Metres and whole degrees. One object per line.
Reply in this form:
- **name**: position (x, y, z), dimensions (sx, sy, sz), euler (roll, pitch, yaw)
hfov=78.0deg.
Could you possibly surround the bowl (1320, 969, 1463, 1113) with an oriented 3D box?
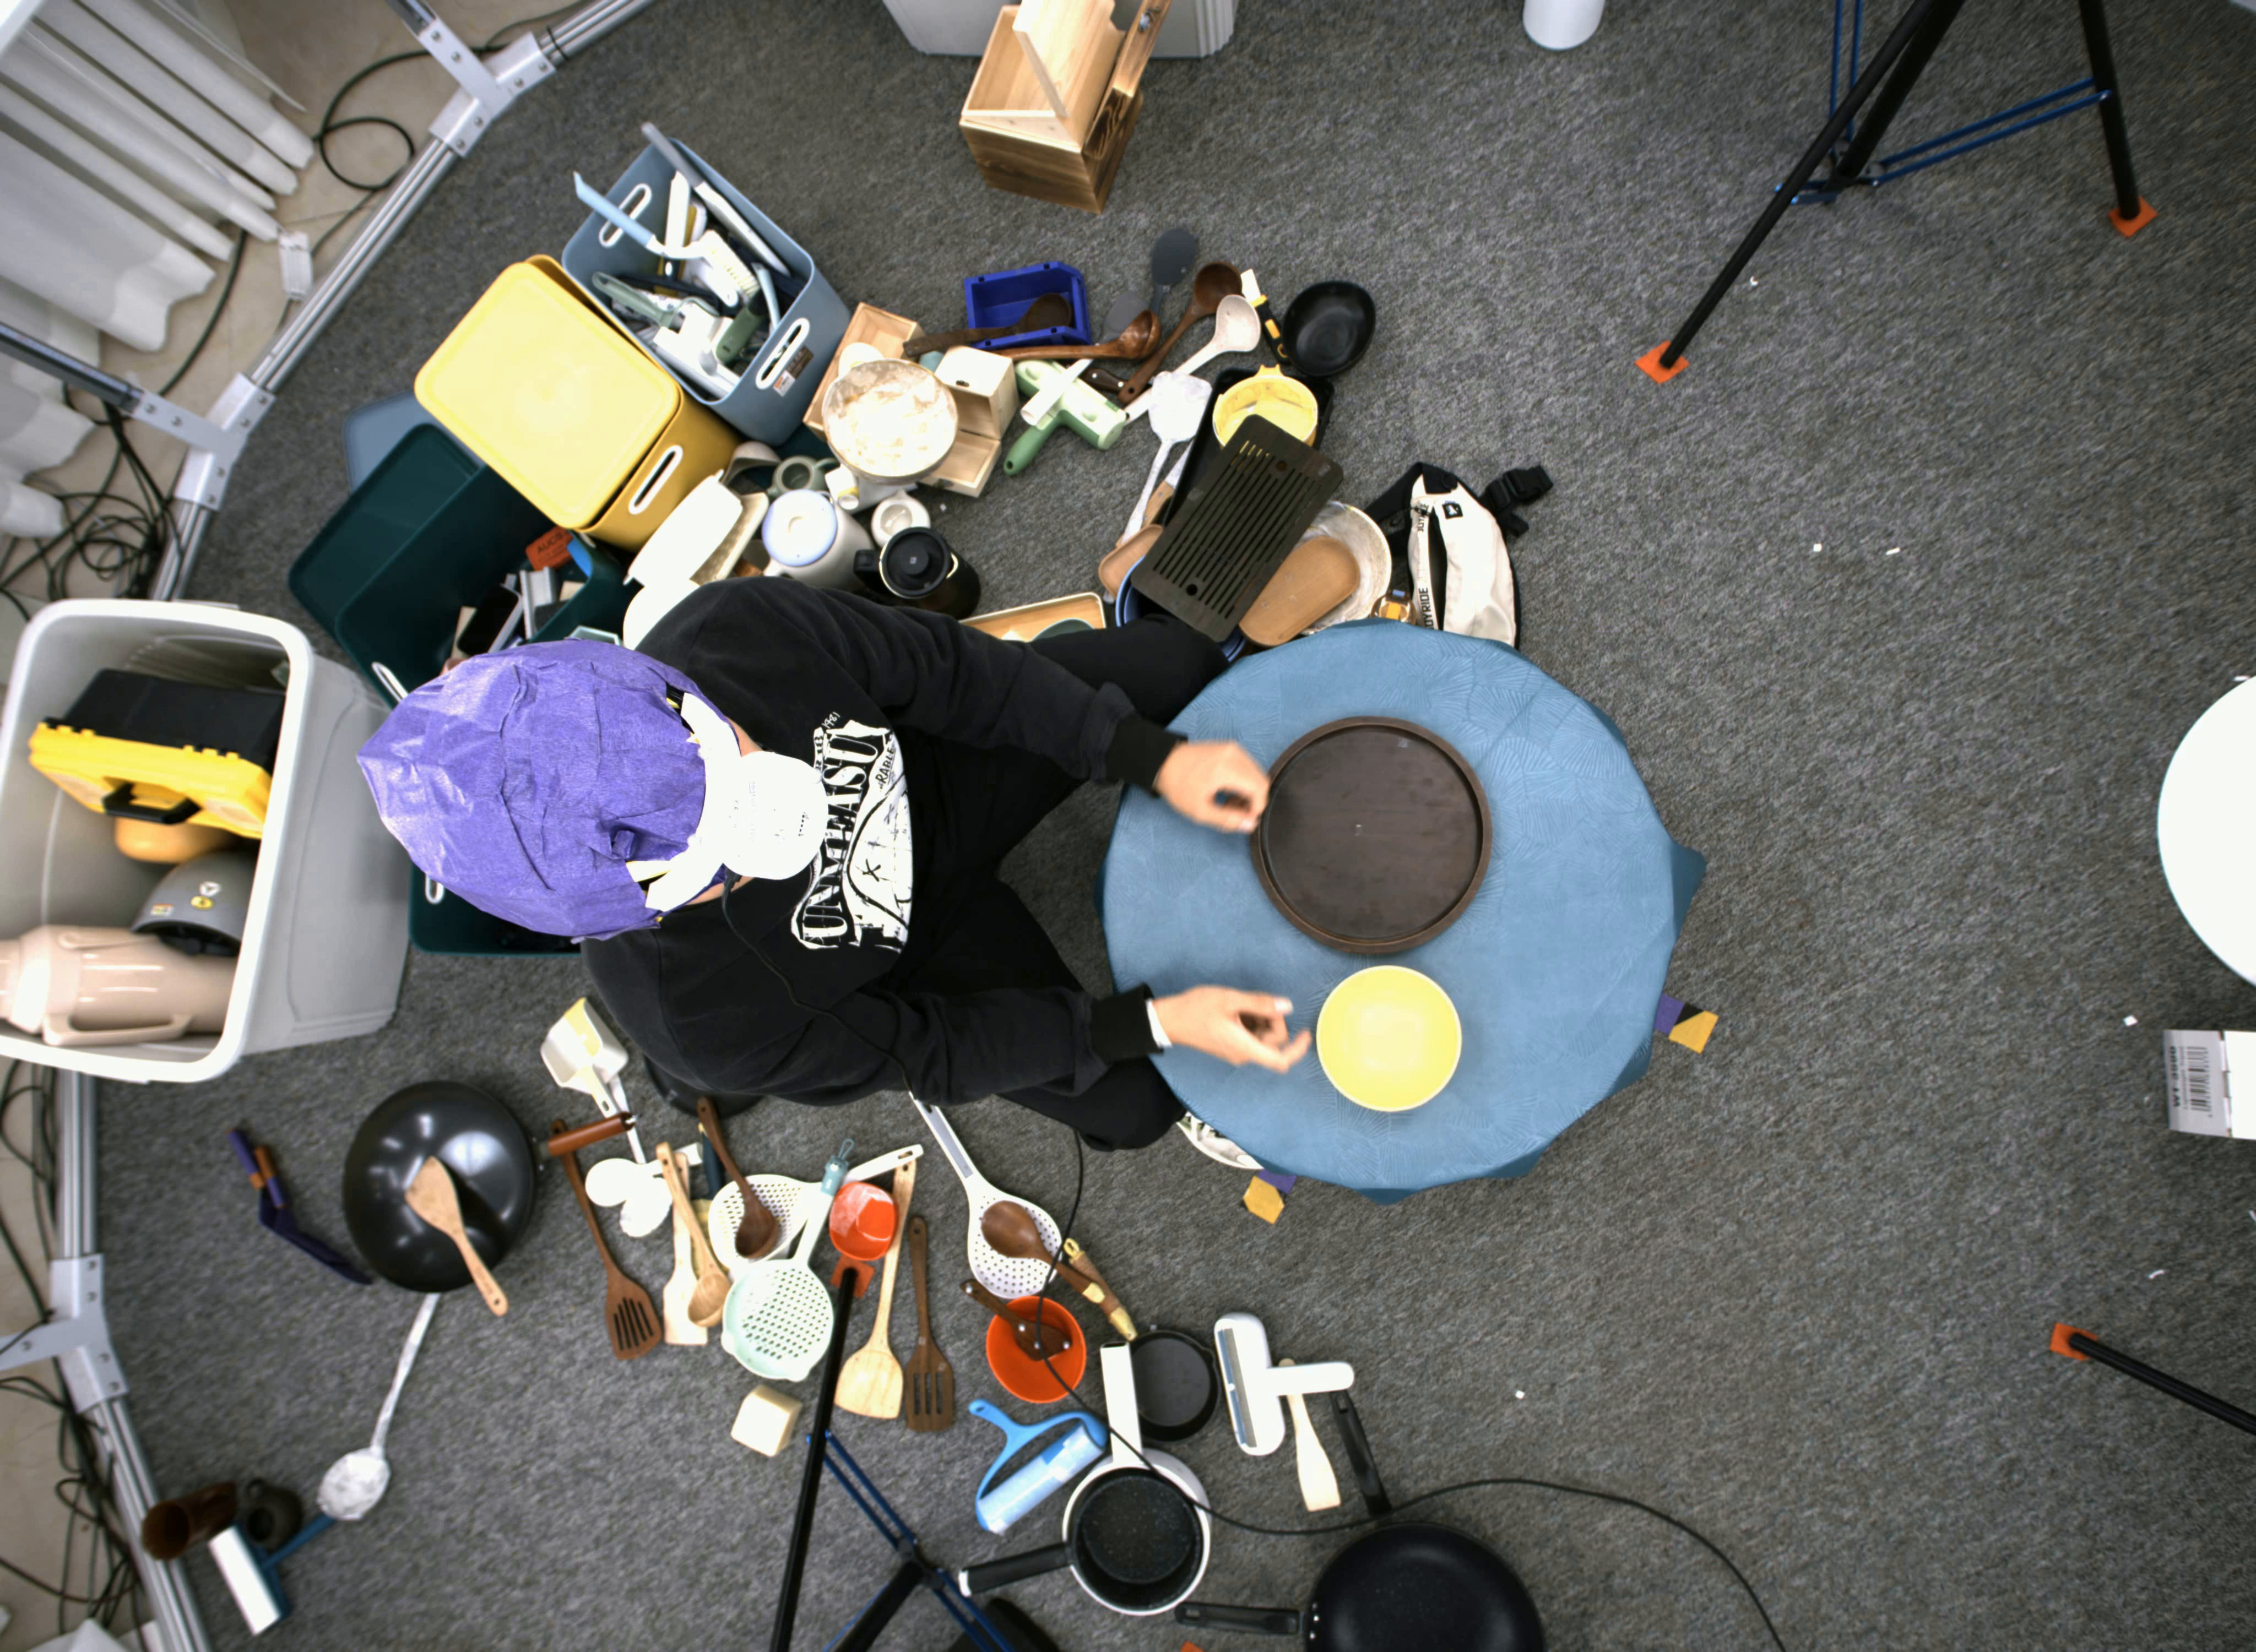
- **bowl**: position (0.272, 0.220, 1.426), dimensions (0.146, 0.060, 0.144), euler (-2, 83, 12)

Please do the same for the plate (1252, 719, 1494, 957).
- **plate**: position (0.258, 0.011, 1.460), dimensions (0.256, 0.029, 0.254), euler (-1, 88, 11)
